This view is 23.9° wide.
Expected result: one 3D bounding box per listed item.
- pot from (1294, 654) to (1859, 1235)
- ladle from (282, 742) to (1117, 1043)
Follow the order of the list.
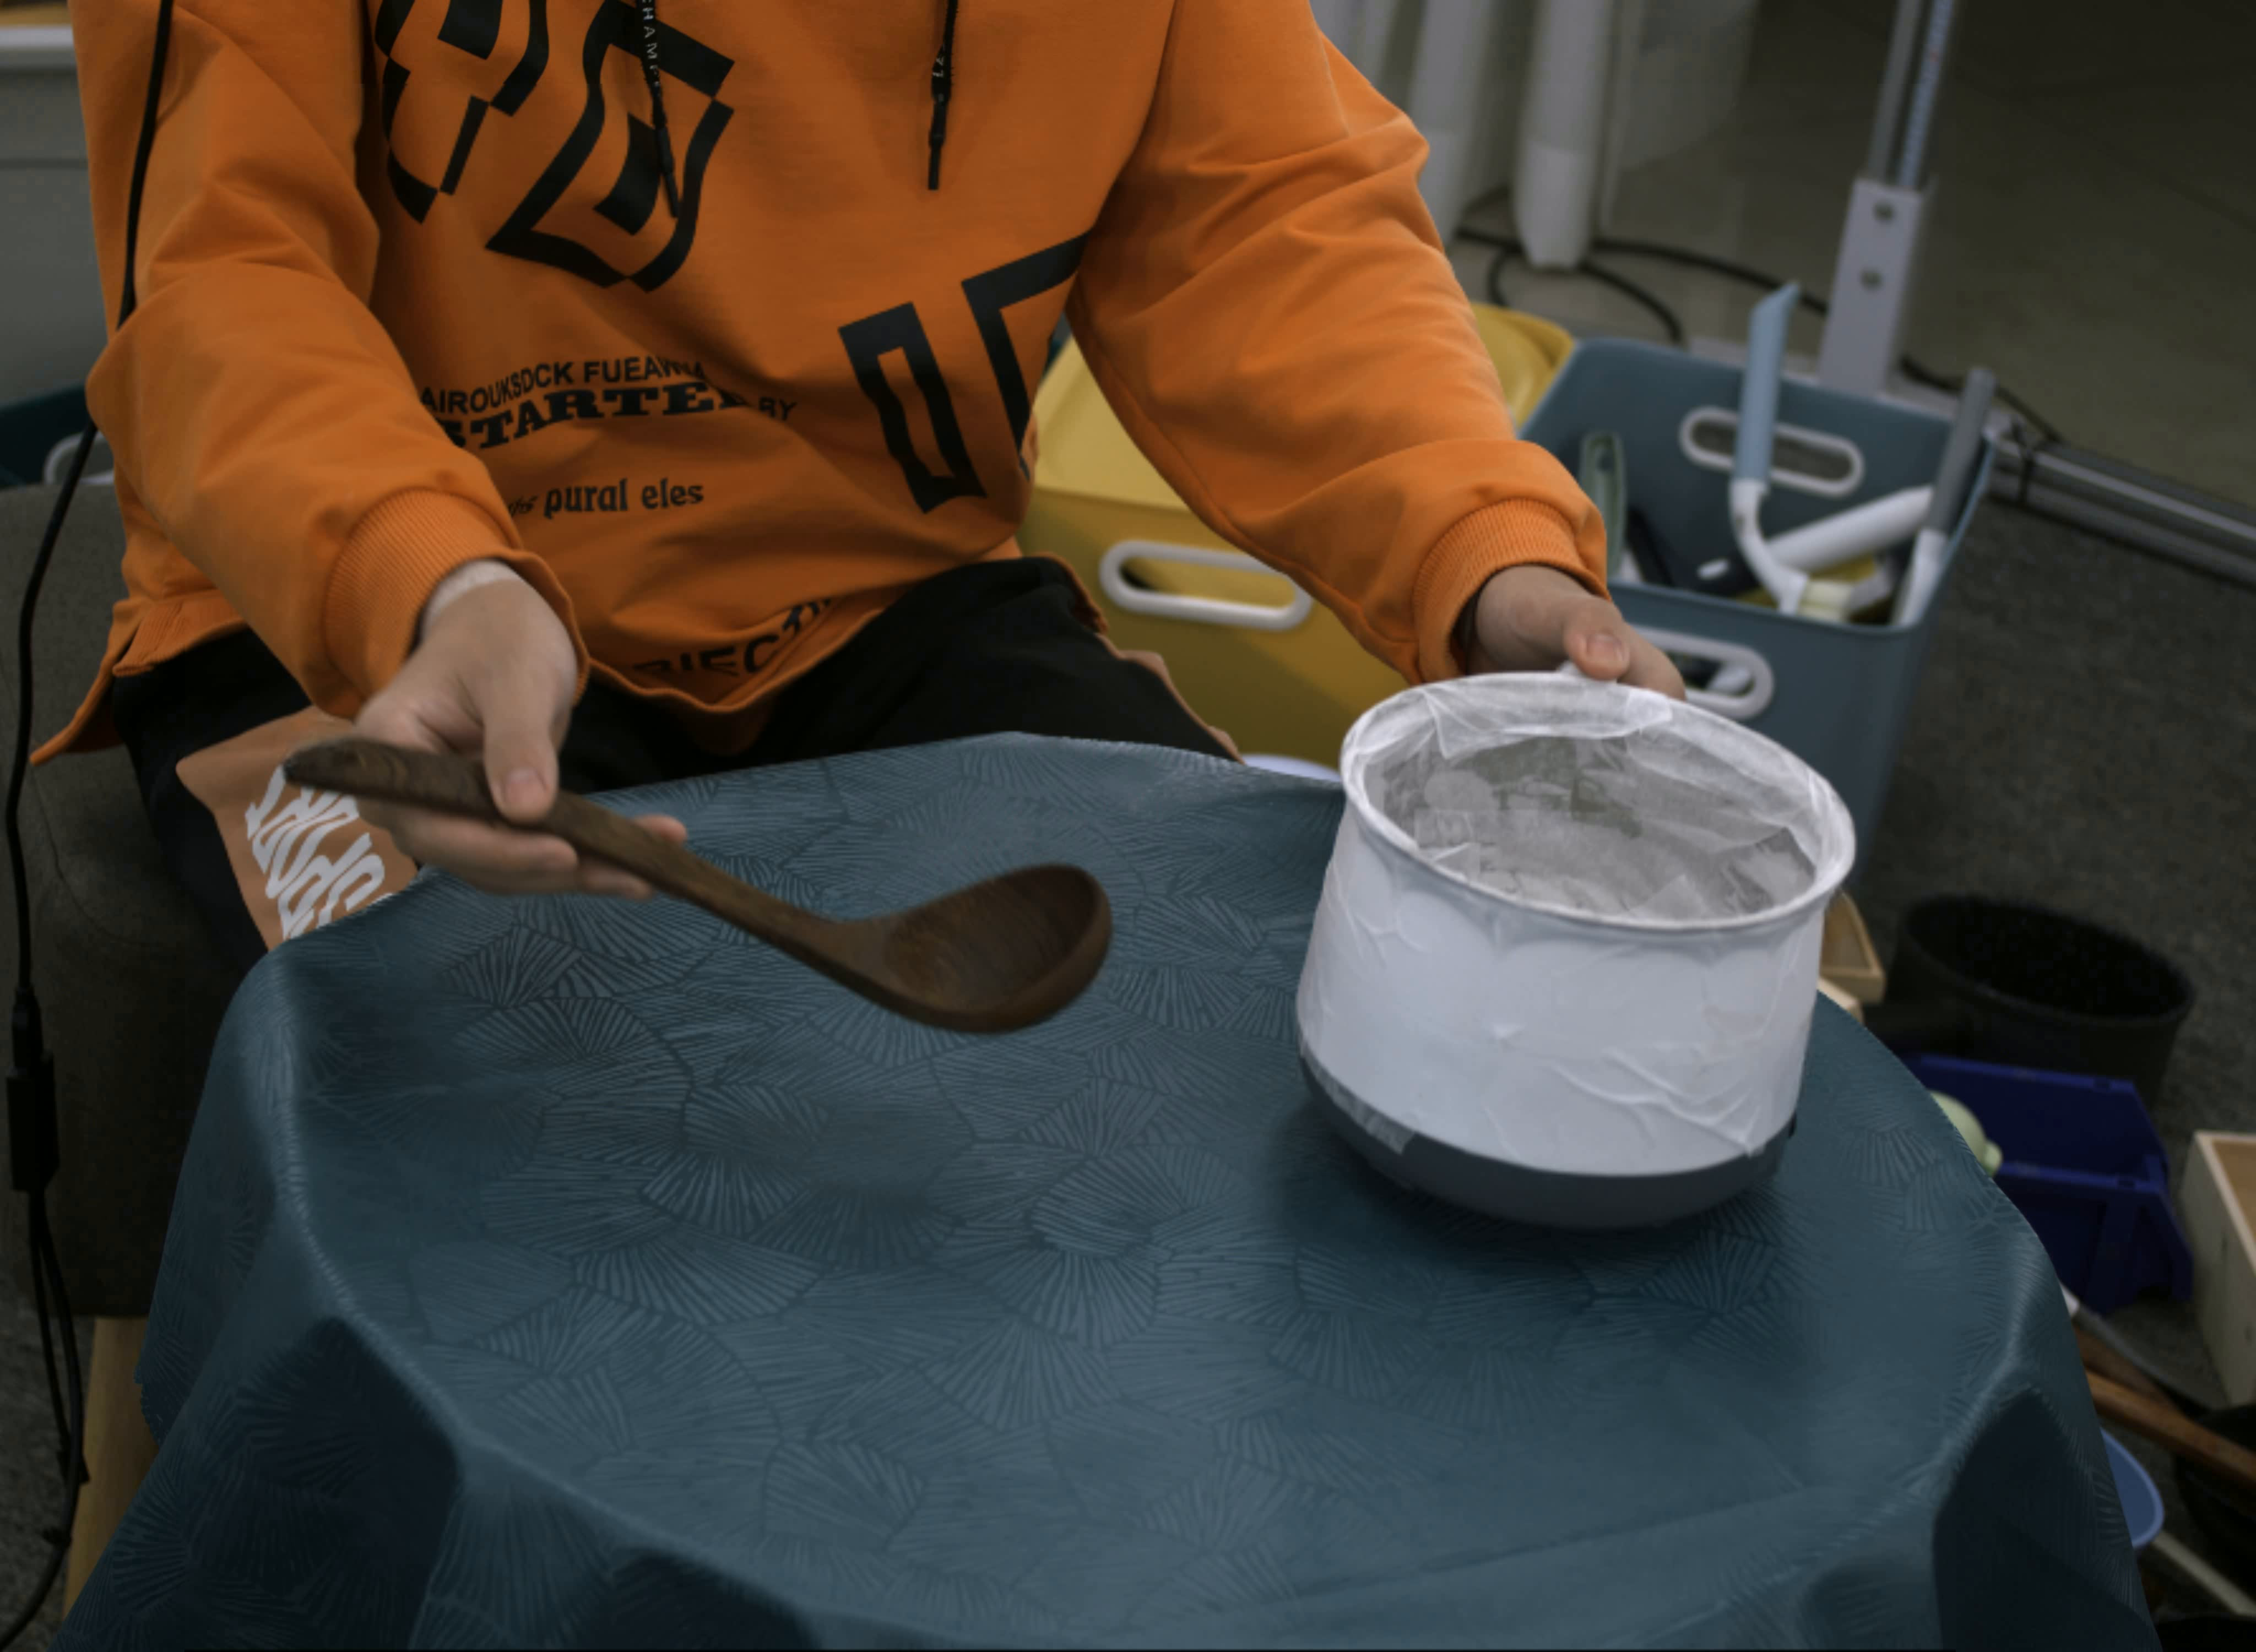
[{"bbox_3d":[0.150,0.033,1.842,0.178,0.136,0.235,8,28,-2],"label":"pot"},{"bbox_3d":[-0.137,0.004,1.740,0.272,0.071,0.076,22,28,-13],"label":"ladle"}]
